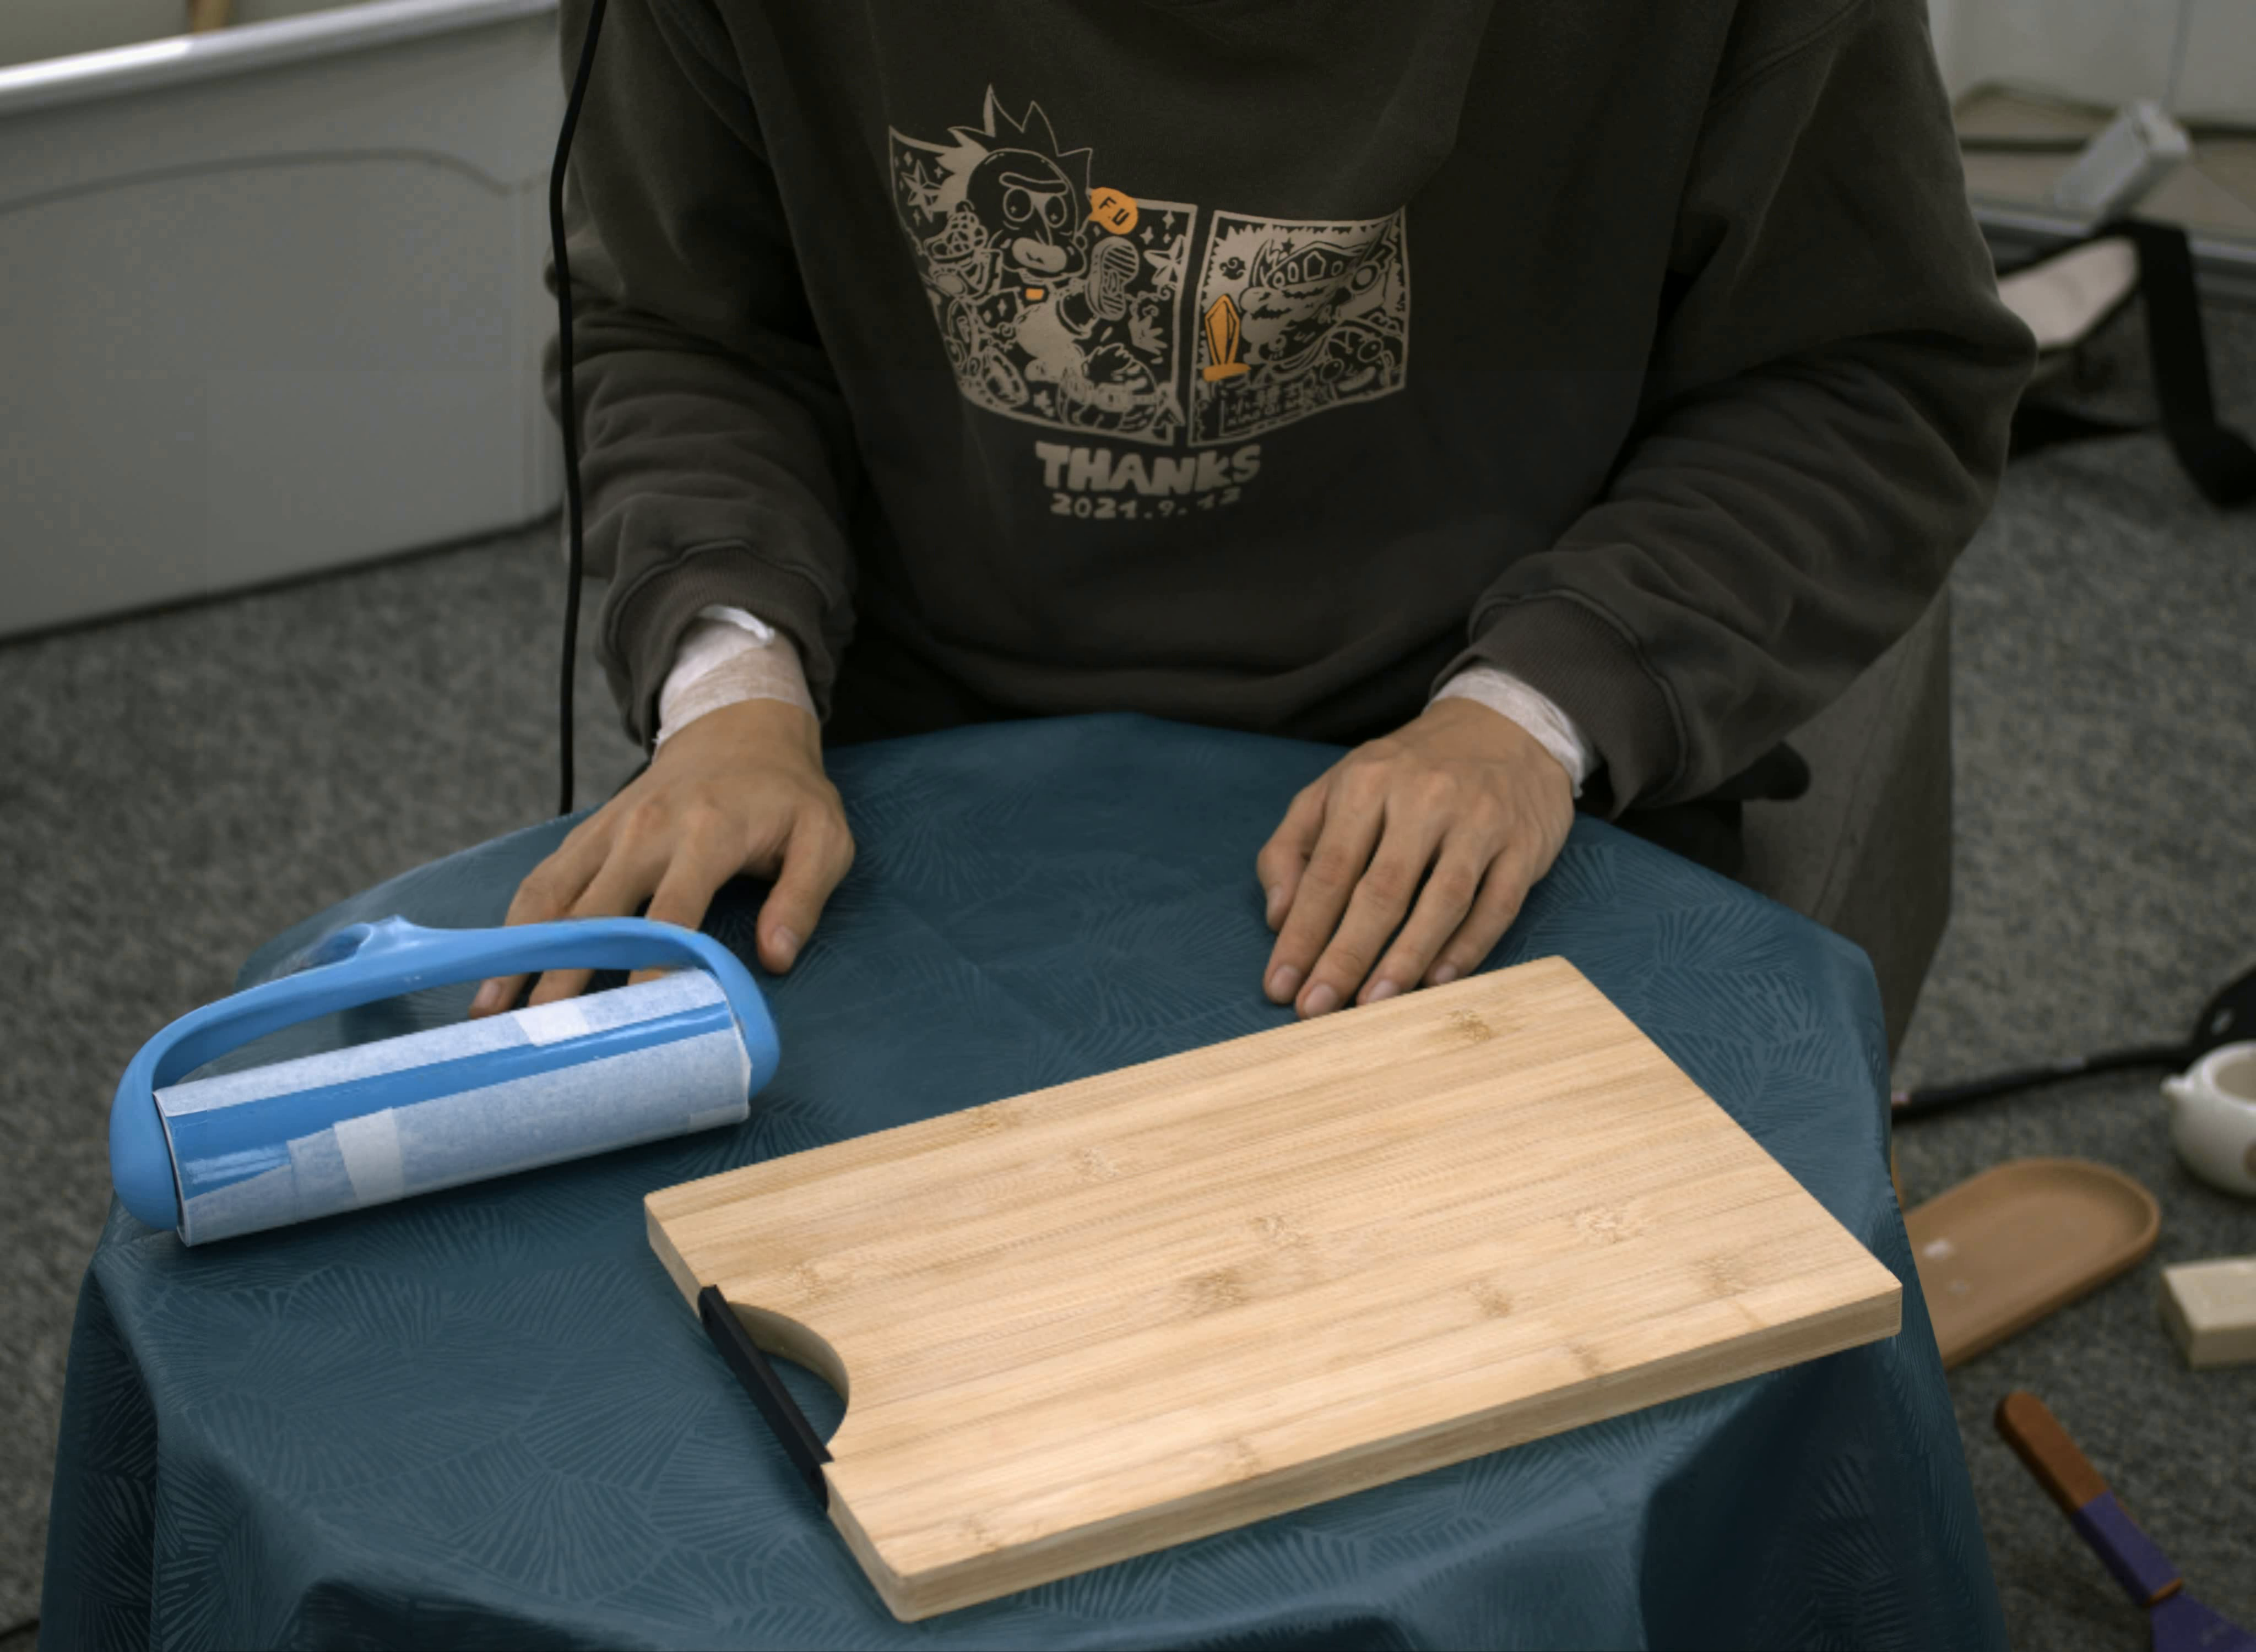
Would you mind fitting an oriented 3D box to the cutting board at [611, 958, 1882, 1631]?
[{"bbox_3d":[0.036,0.143,1.800,0.350,0.023,0.252,-14,29,-20],"label":"cutting board"}]

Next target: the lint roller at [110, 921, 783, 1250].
[{"bbox_3d":[-0.248,0.068,1.926,0.229,0.067,0.182,-14,31,-18],"label":"lint roller"}]
